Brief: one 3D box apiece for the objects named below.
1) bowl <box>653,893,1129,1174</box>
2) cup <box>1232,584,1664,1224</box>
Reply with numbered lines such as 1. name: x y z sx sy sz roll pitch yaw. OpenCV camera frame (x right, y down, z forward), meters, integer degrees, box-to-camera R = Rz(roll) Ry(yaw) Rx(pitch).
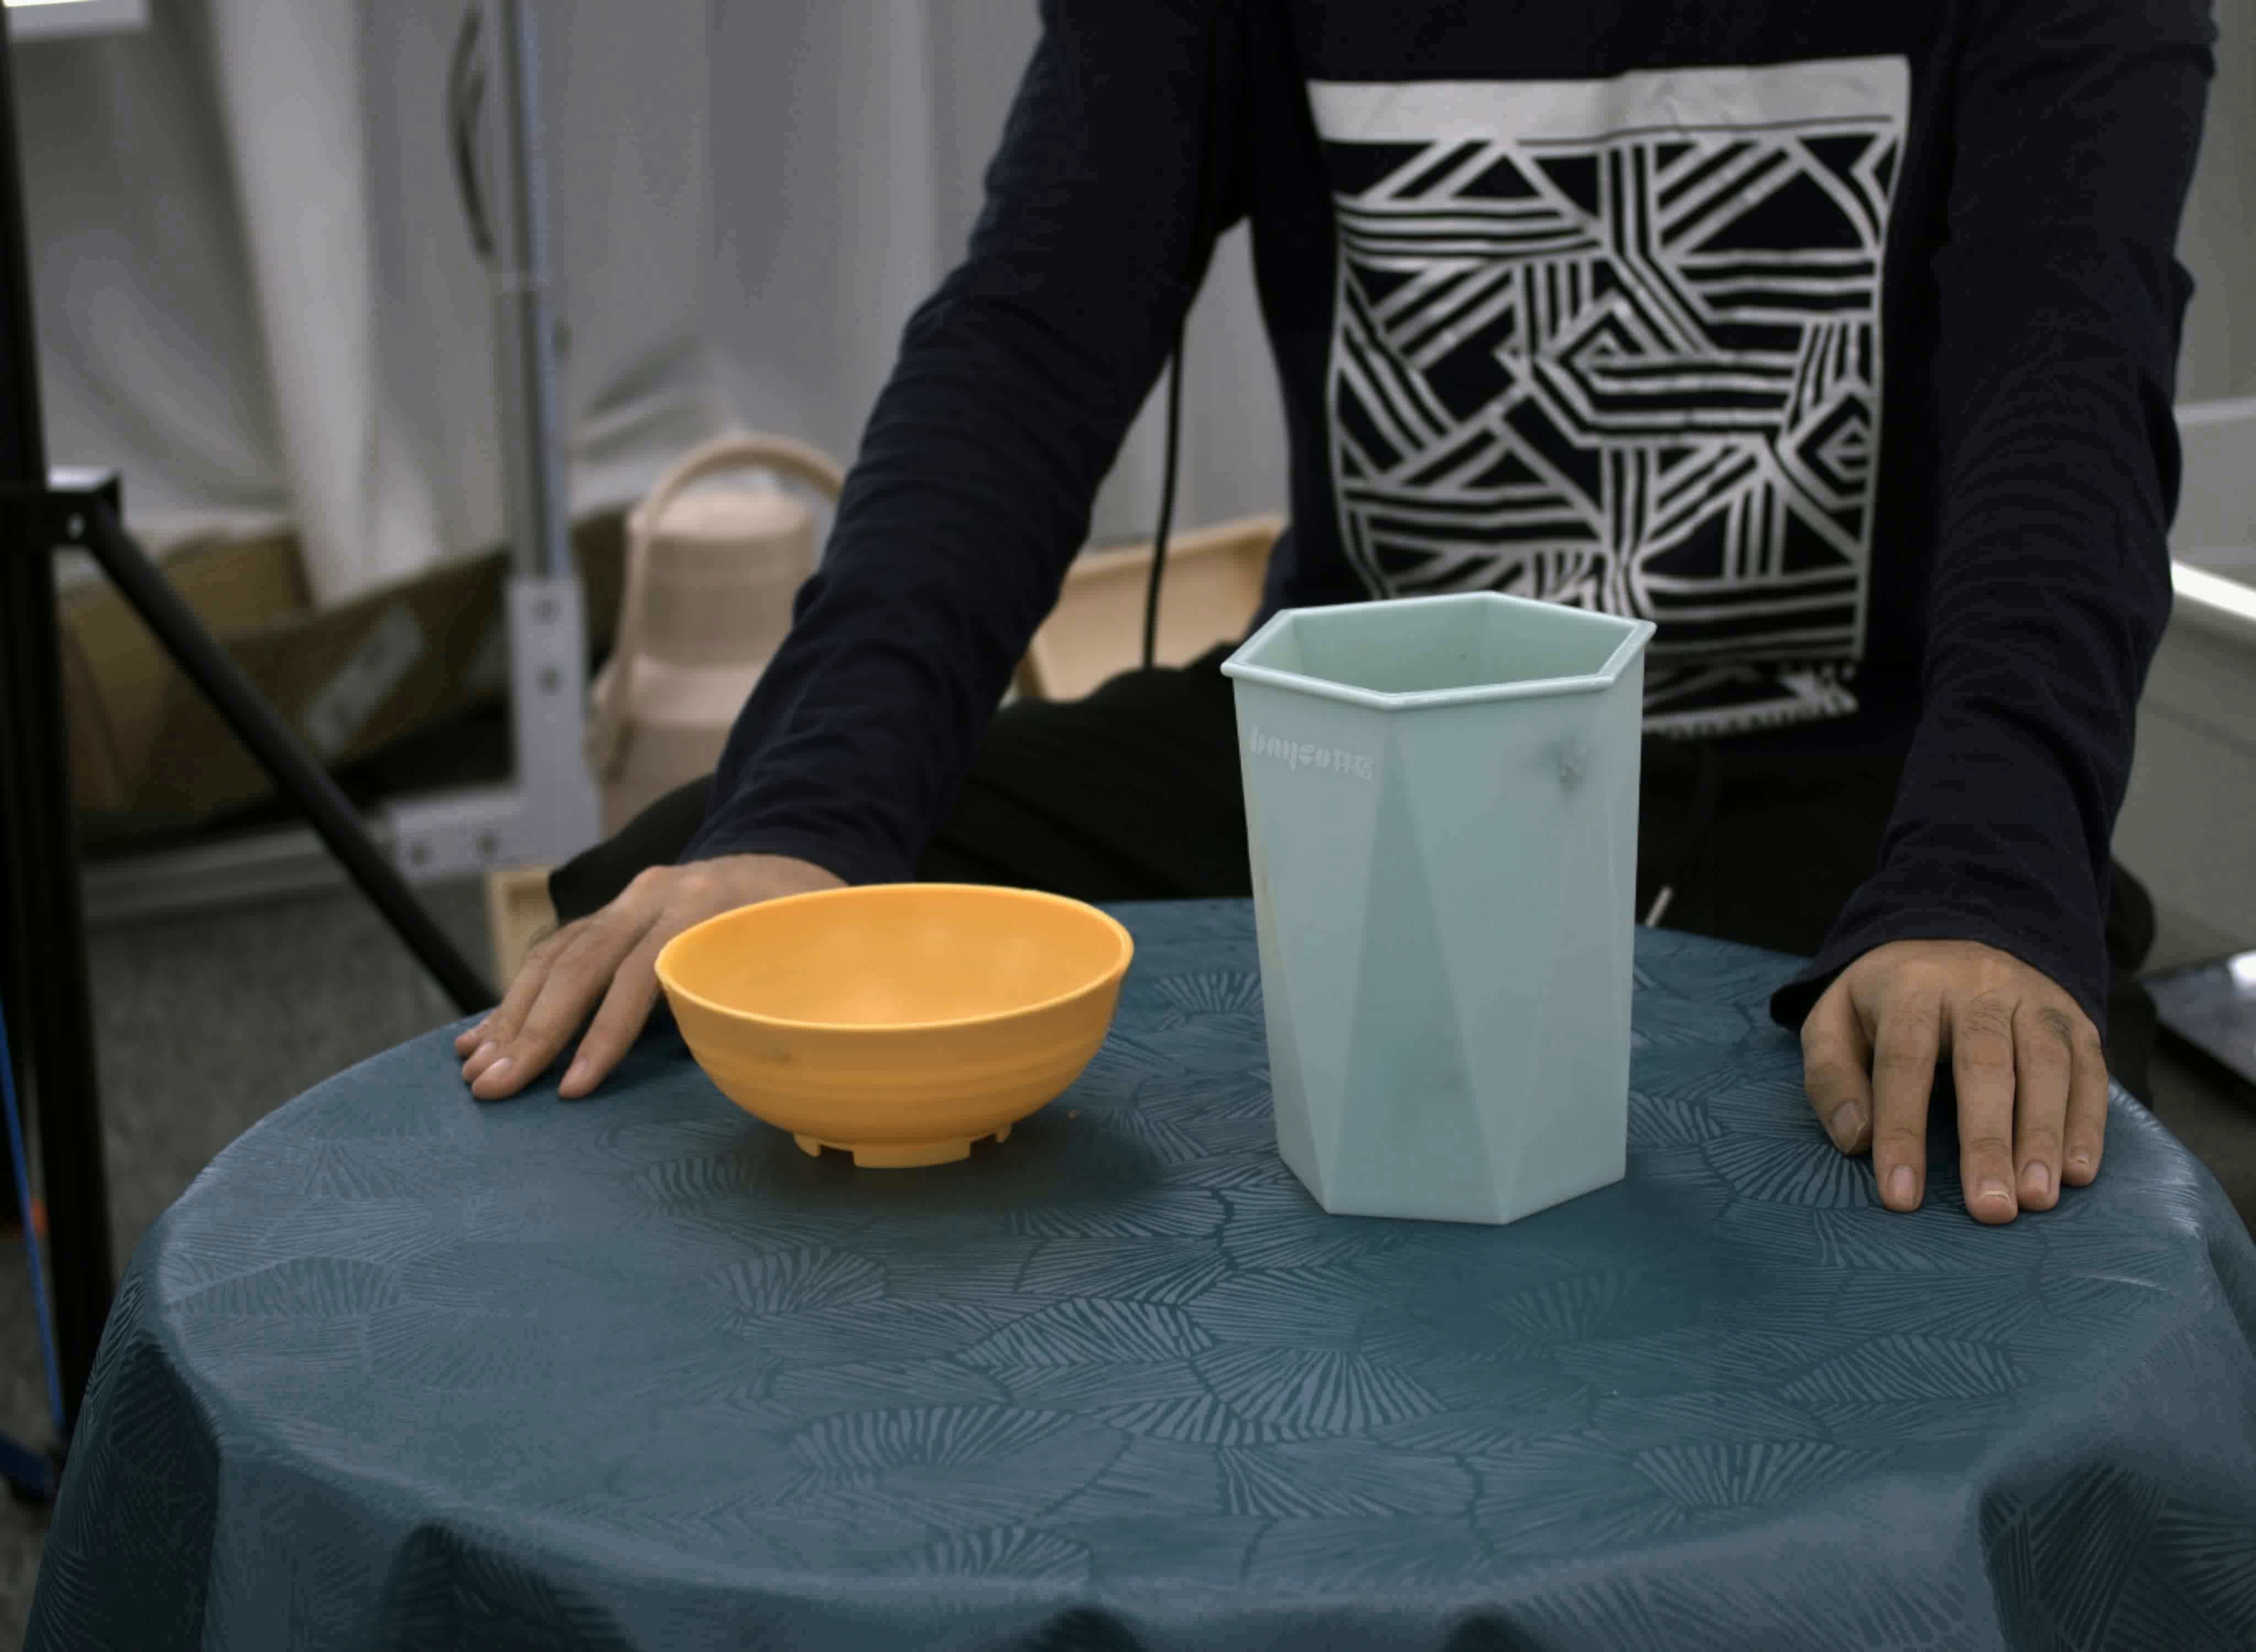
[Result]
1. bowl: -0.072 0.068 1.617 0.144 0.060 0.146 0 14 -1
2. cup: 0.093 0.023 1.546 0.112 0.163 0.134 -14 20 -43
